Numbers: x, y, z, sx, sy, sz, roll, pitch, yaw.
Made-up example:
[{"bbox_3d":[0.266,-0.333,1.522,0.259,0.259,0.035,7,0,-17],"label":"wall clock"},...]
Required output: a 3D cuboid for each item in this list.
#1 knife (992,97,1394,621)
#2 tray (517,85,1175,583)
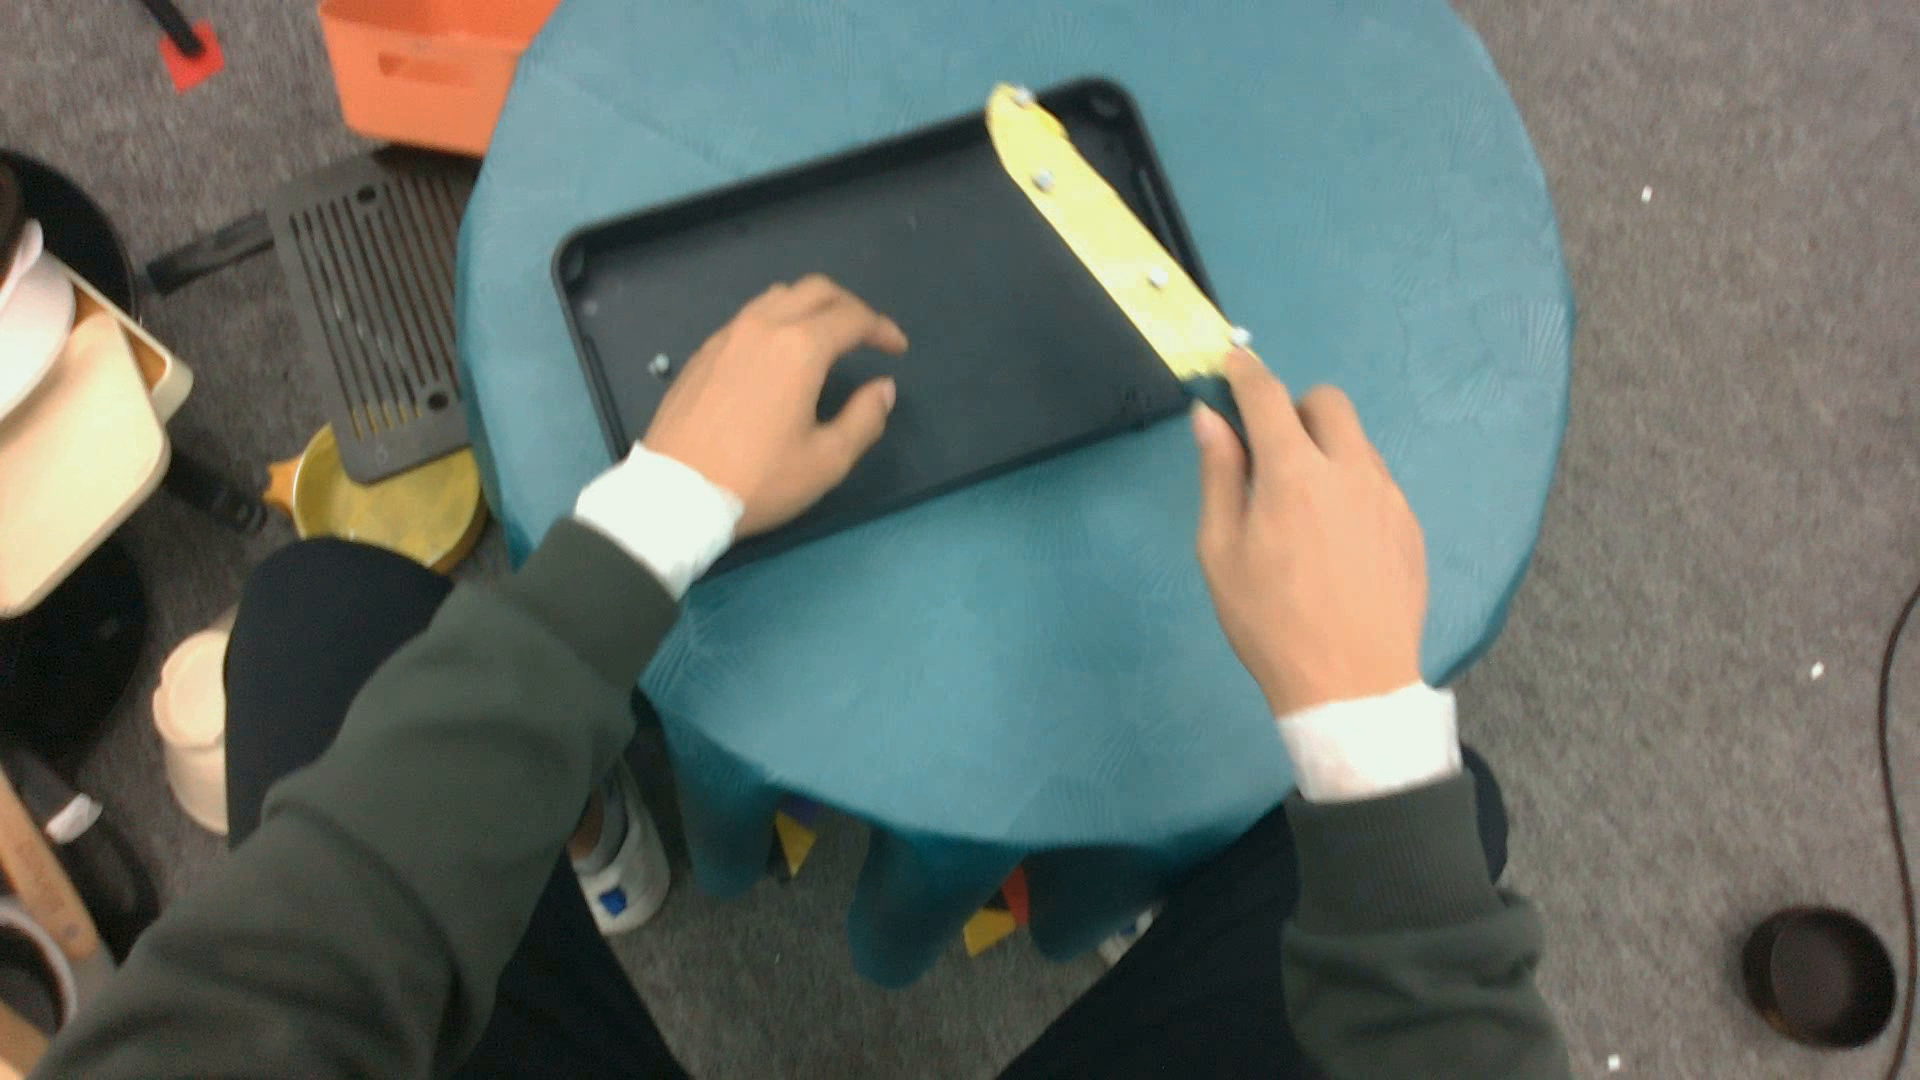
[{"bbox_3d":[0.103,-0.088,0.615,0.081,0.027,0.289,-27,78,-47],"label":"knife"},{"bbox_3d":[-0.048,-0.111,0.713,0.318,0.037,0.184,-21,78,-12],"label":"tray"}]
